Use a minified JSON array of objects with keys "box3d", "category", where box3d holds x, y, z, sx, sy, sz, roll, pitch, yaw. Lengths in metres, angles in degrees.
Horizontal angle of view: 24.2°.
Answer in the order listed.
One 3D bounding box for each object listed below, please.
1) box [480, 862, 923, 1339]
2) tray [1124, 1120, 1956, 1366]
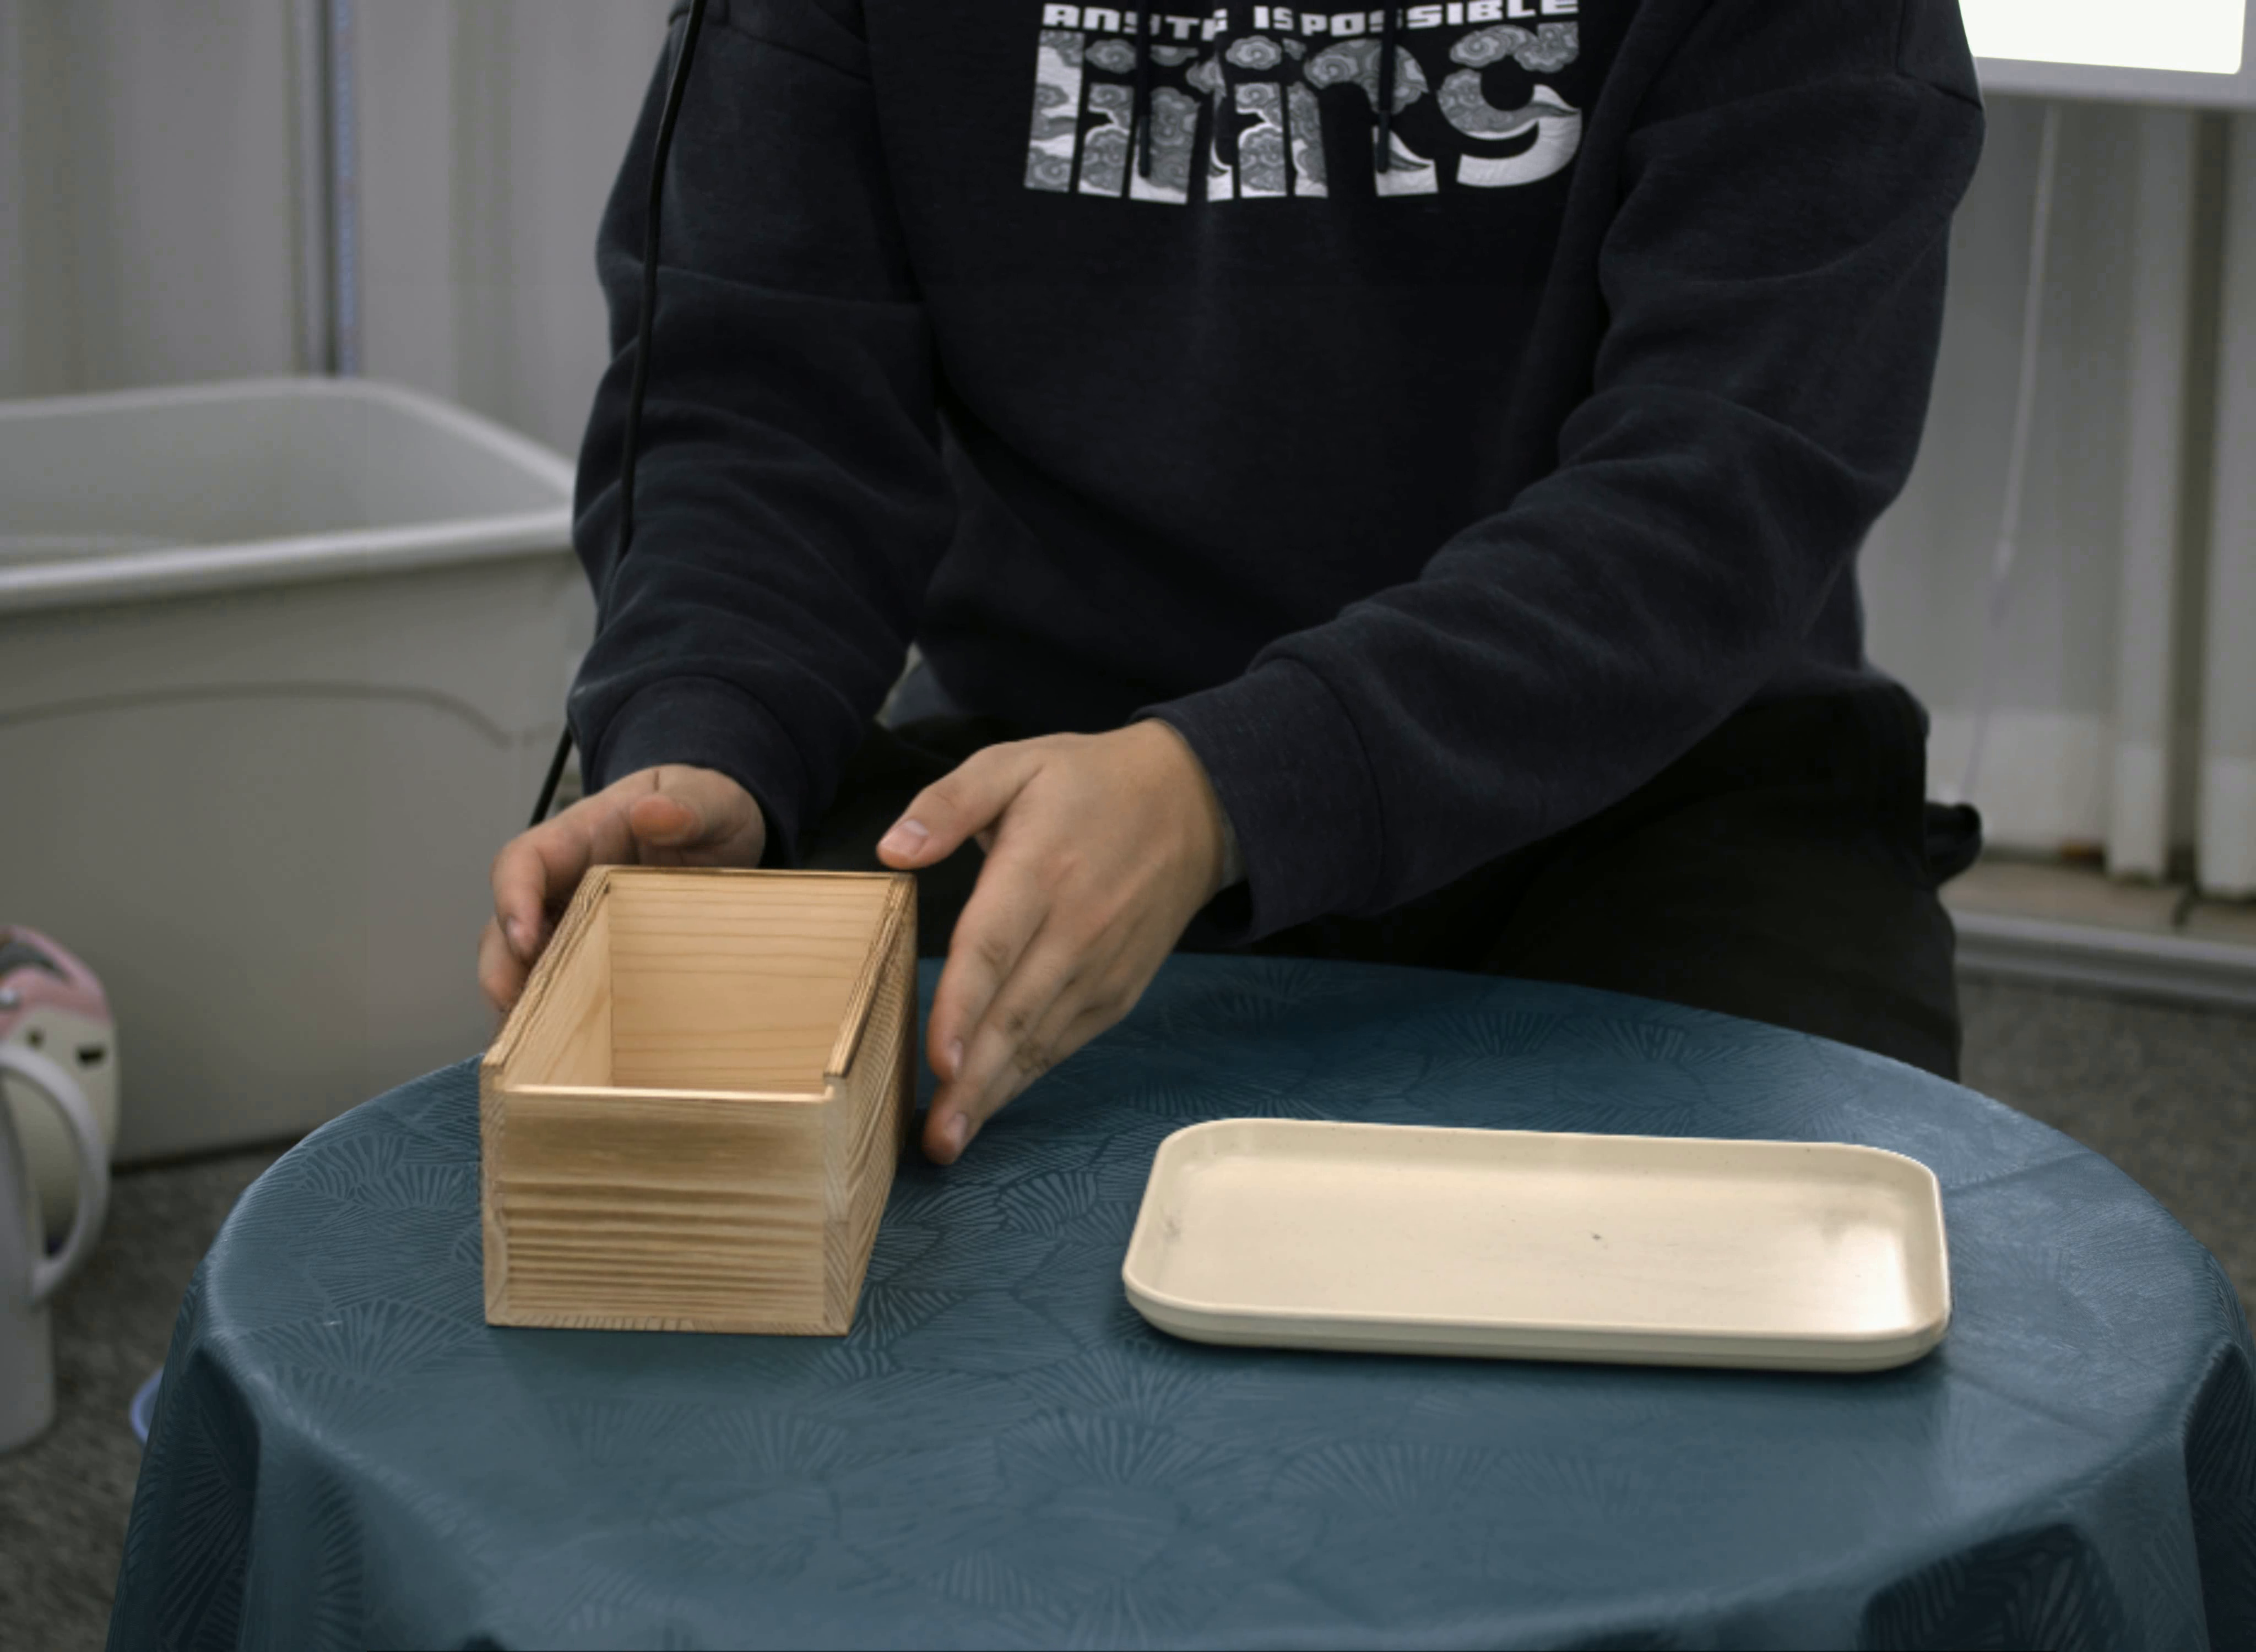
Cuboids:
[{"box3d":[-0.125,0.079,1.592,0.107,0.081,0.210,2,16,2],"category":"box"},{"box3d":[0.122,0.123,1.560,0.238,0.017,0.170,2,15,5],"category":"tray"}]
